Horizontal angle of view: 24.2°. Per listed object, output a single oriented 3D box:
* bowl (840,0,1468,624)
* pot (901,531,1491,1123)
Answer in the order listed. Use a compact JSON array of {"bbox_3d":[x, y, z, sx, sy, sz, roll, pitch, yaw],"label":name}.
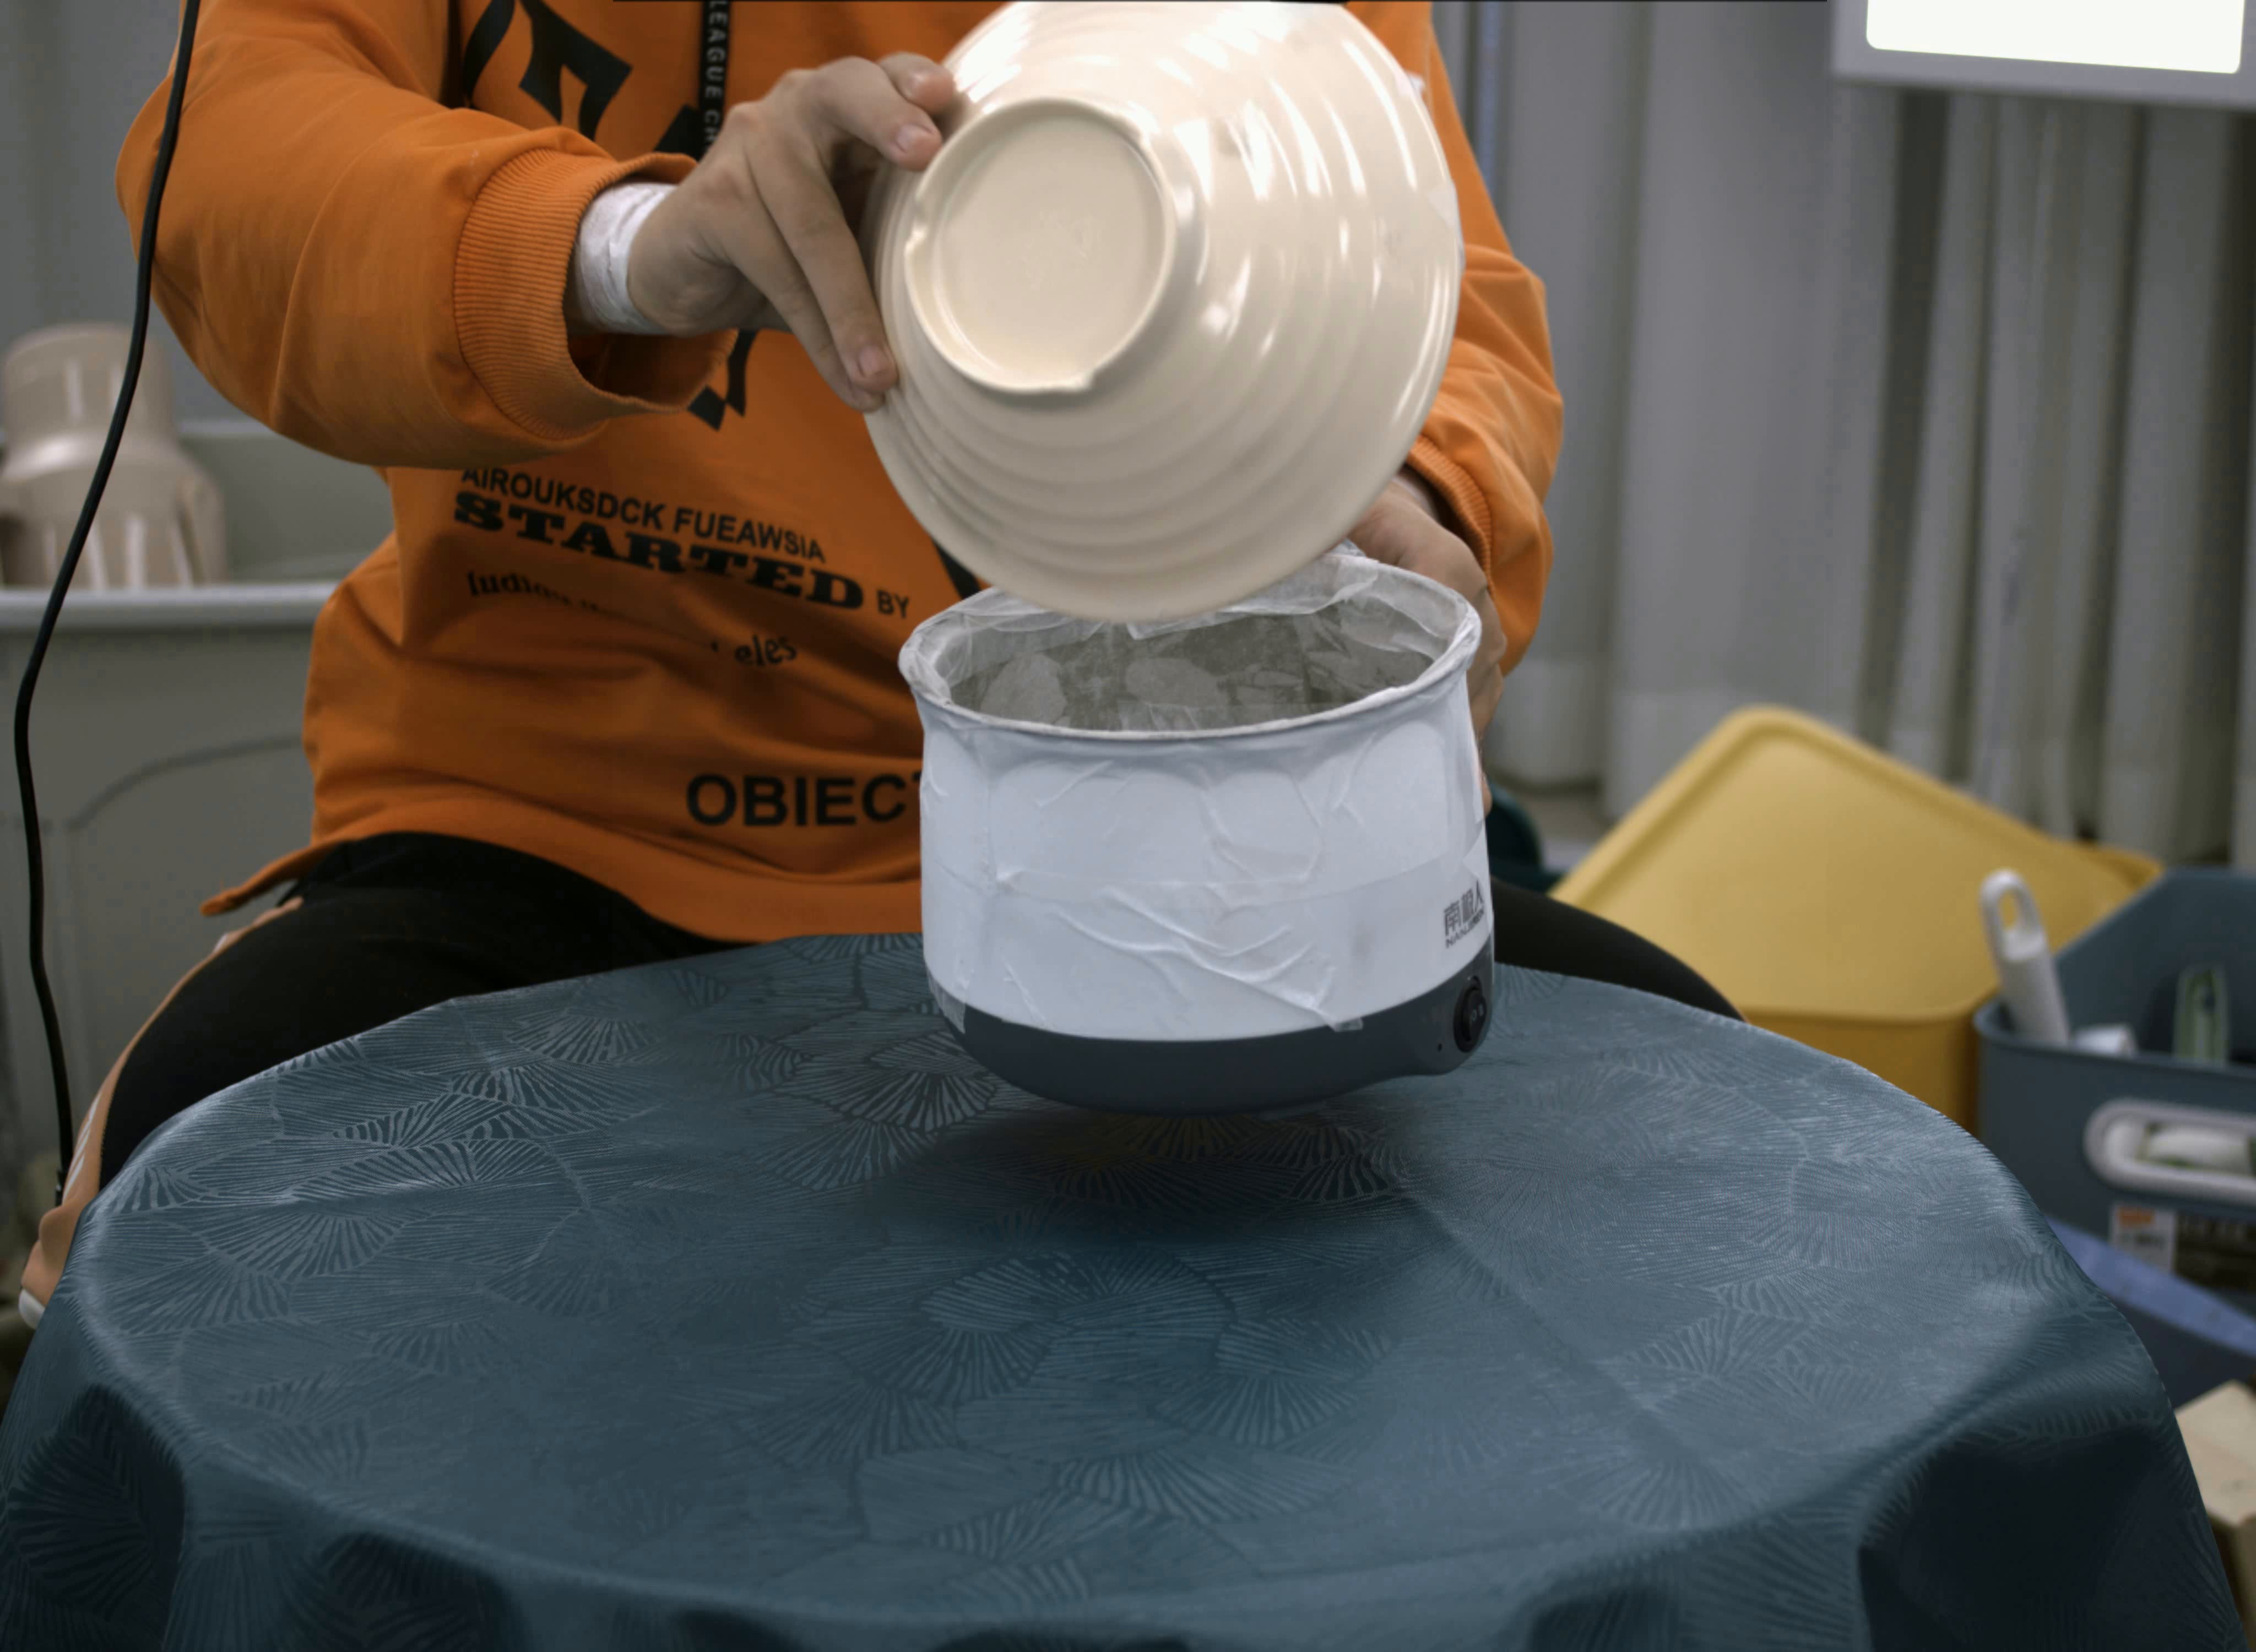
[{"bbox_3d":[-0.008,-0.165,1.532,0.202,0.204,0.078,8,-3,23],"label":"bowl"},{"bbox_3d":[0.034,-0.008,1.638,0.177,0.138,0.234,7,23,23],"label":"pot"}]
